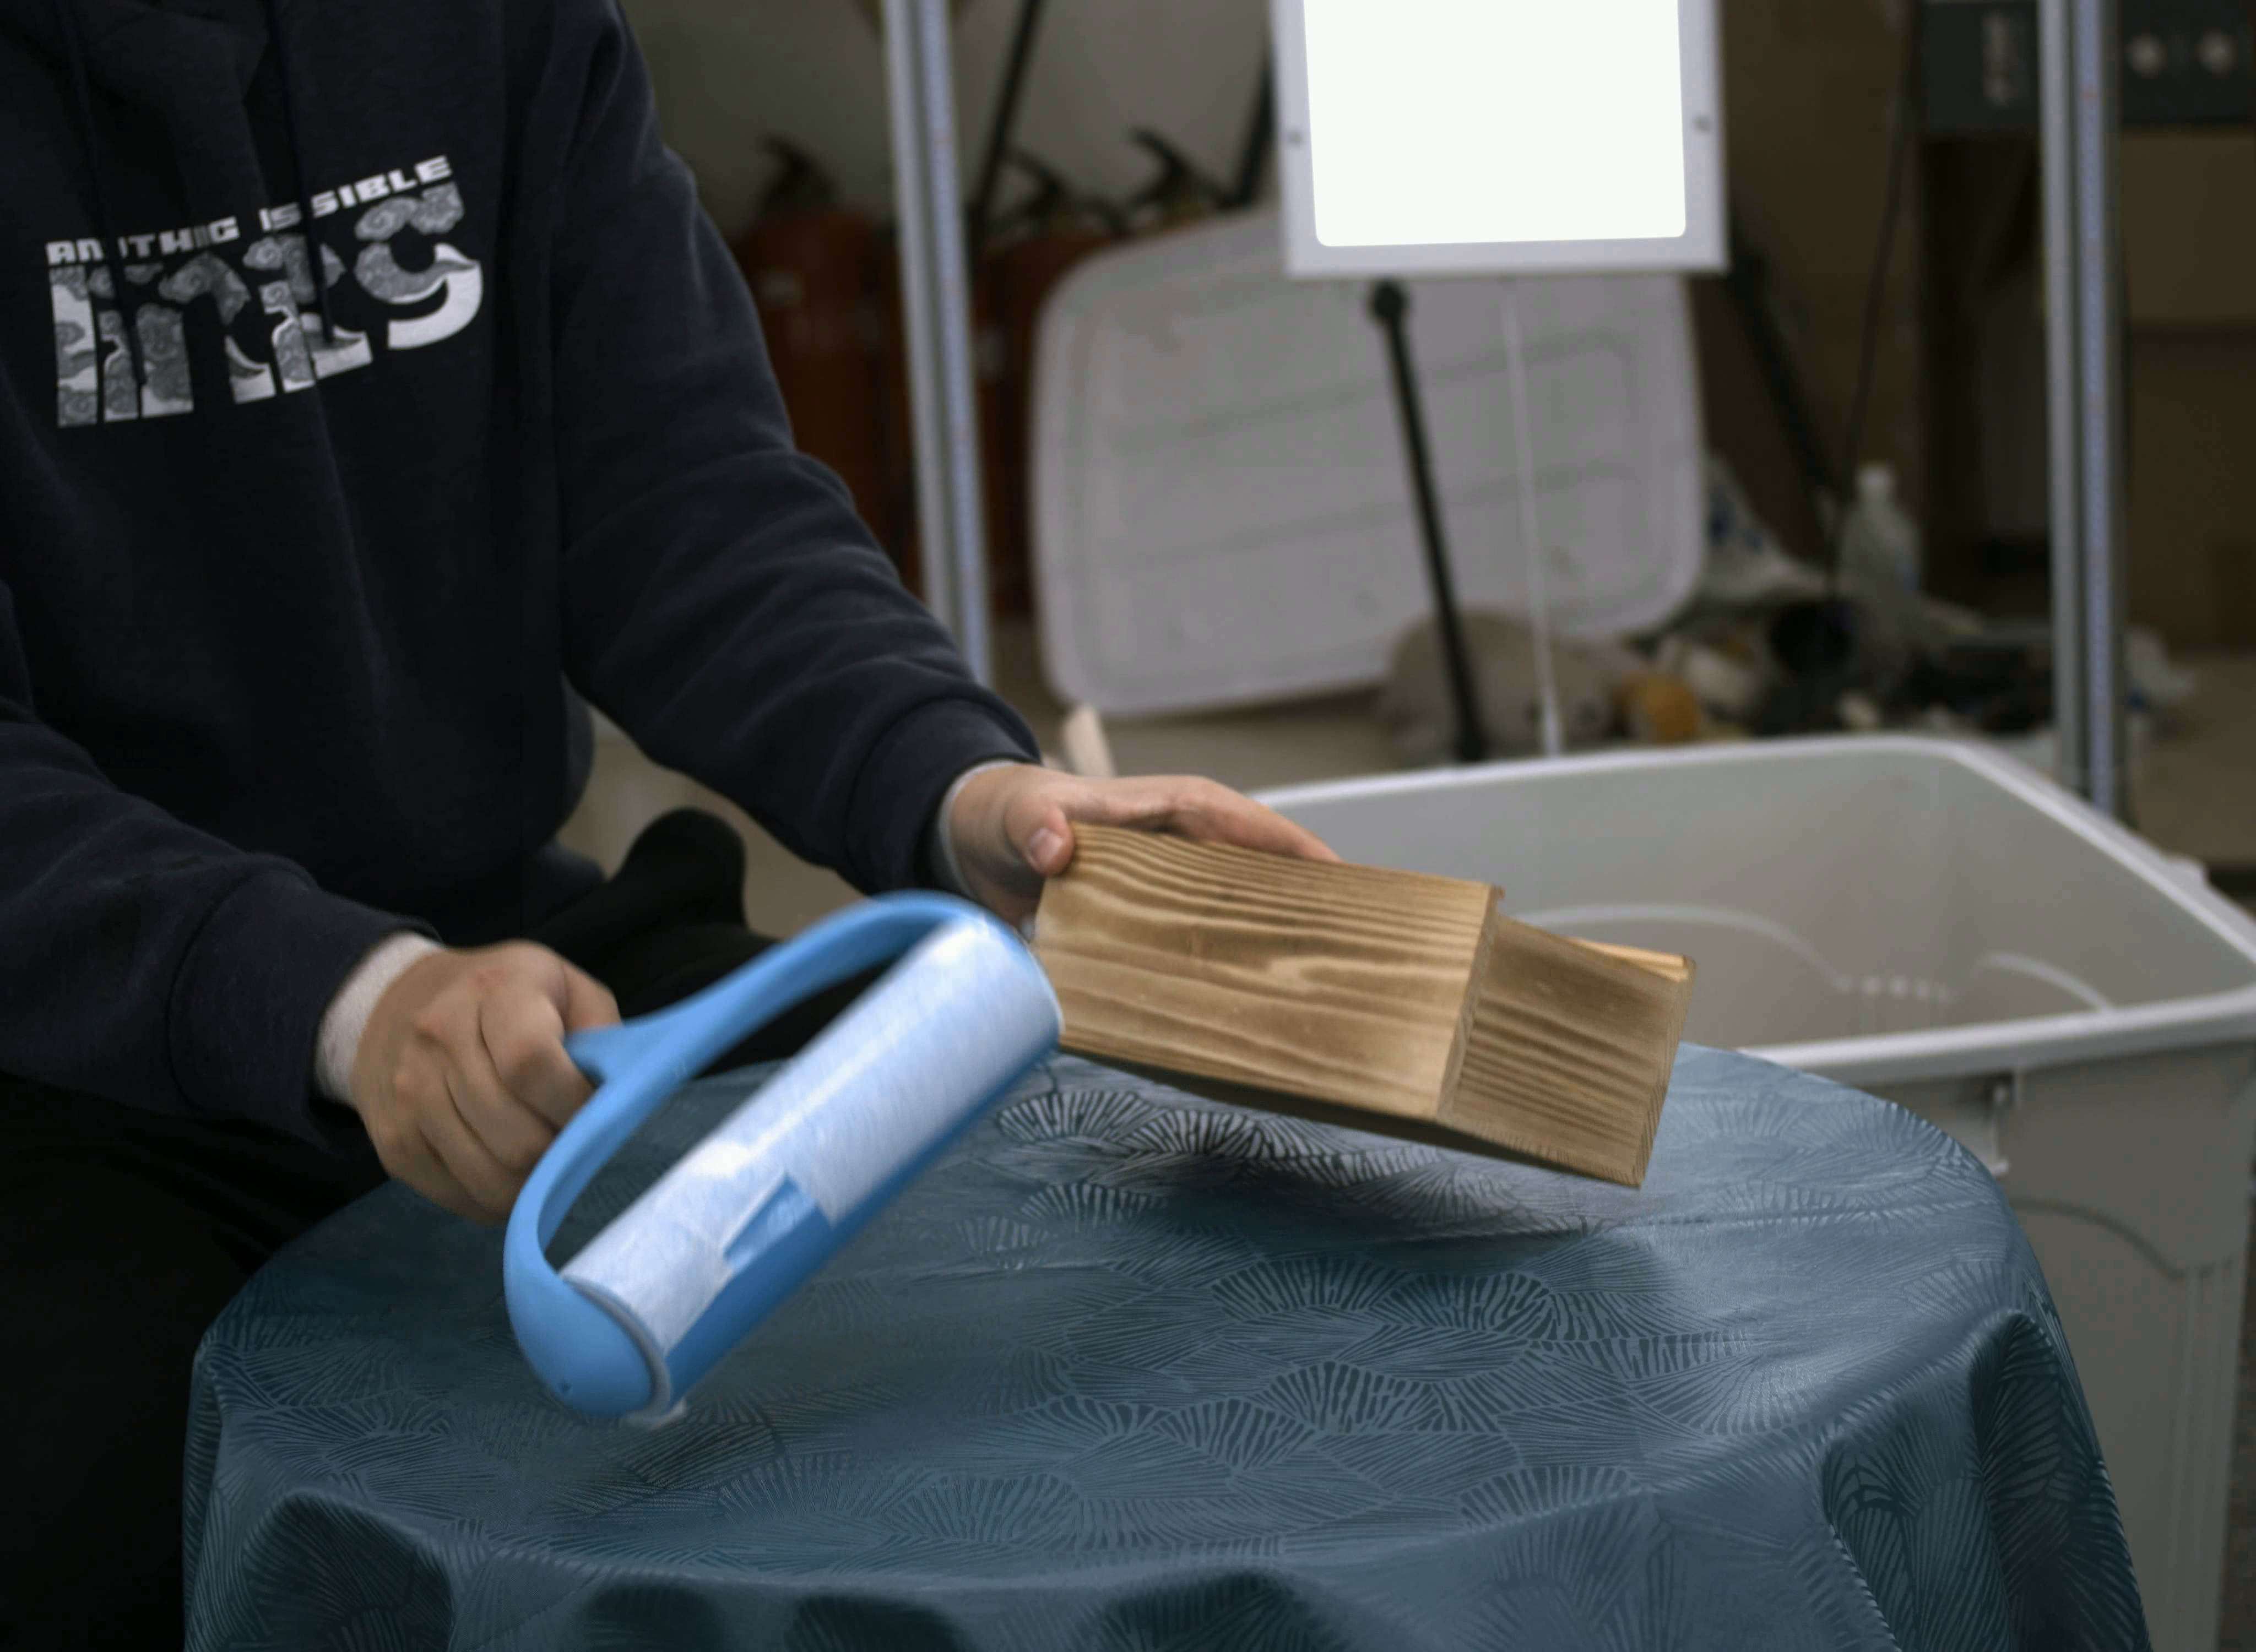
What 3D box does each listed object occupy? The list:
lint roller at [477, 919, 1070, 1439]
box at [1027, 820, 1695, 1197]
[{"bbox_3d":[-0.144,0.098,1.731,0.184,0.068,0.224,14,43,37],"label":"lint roller"},{"bbox_3d":[0.074,0.060,1.869,0.105,0.080,0.216,19,-6,-42],"label":"box"}]
